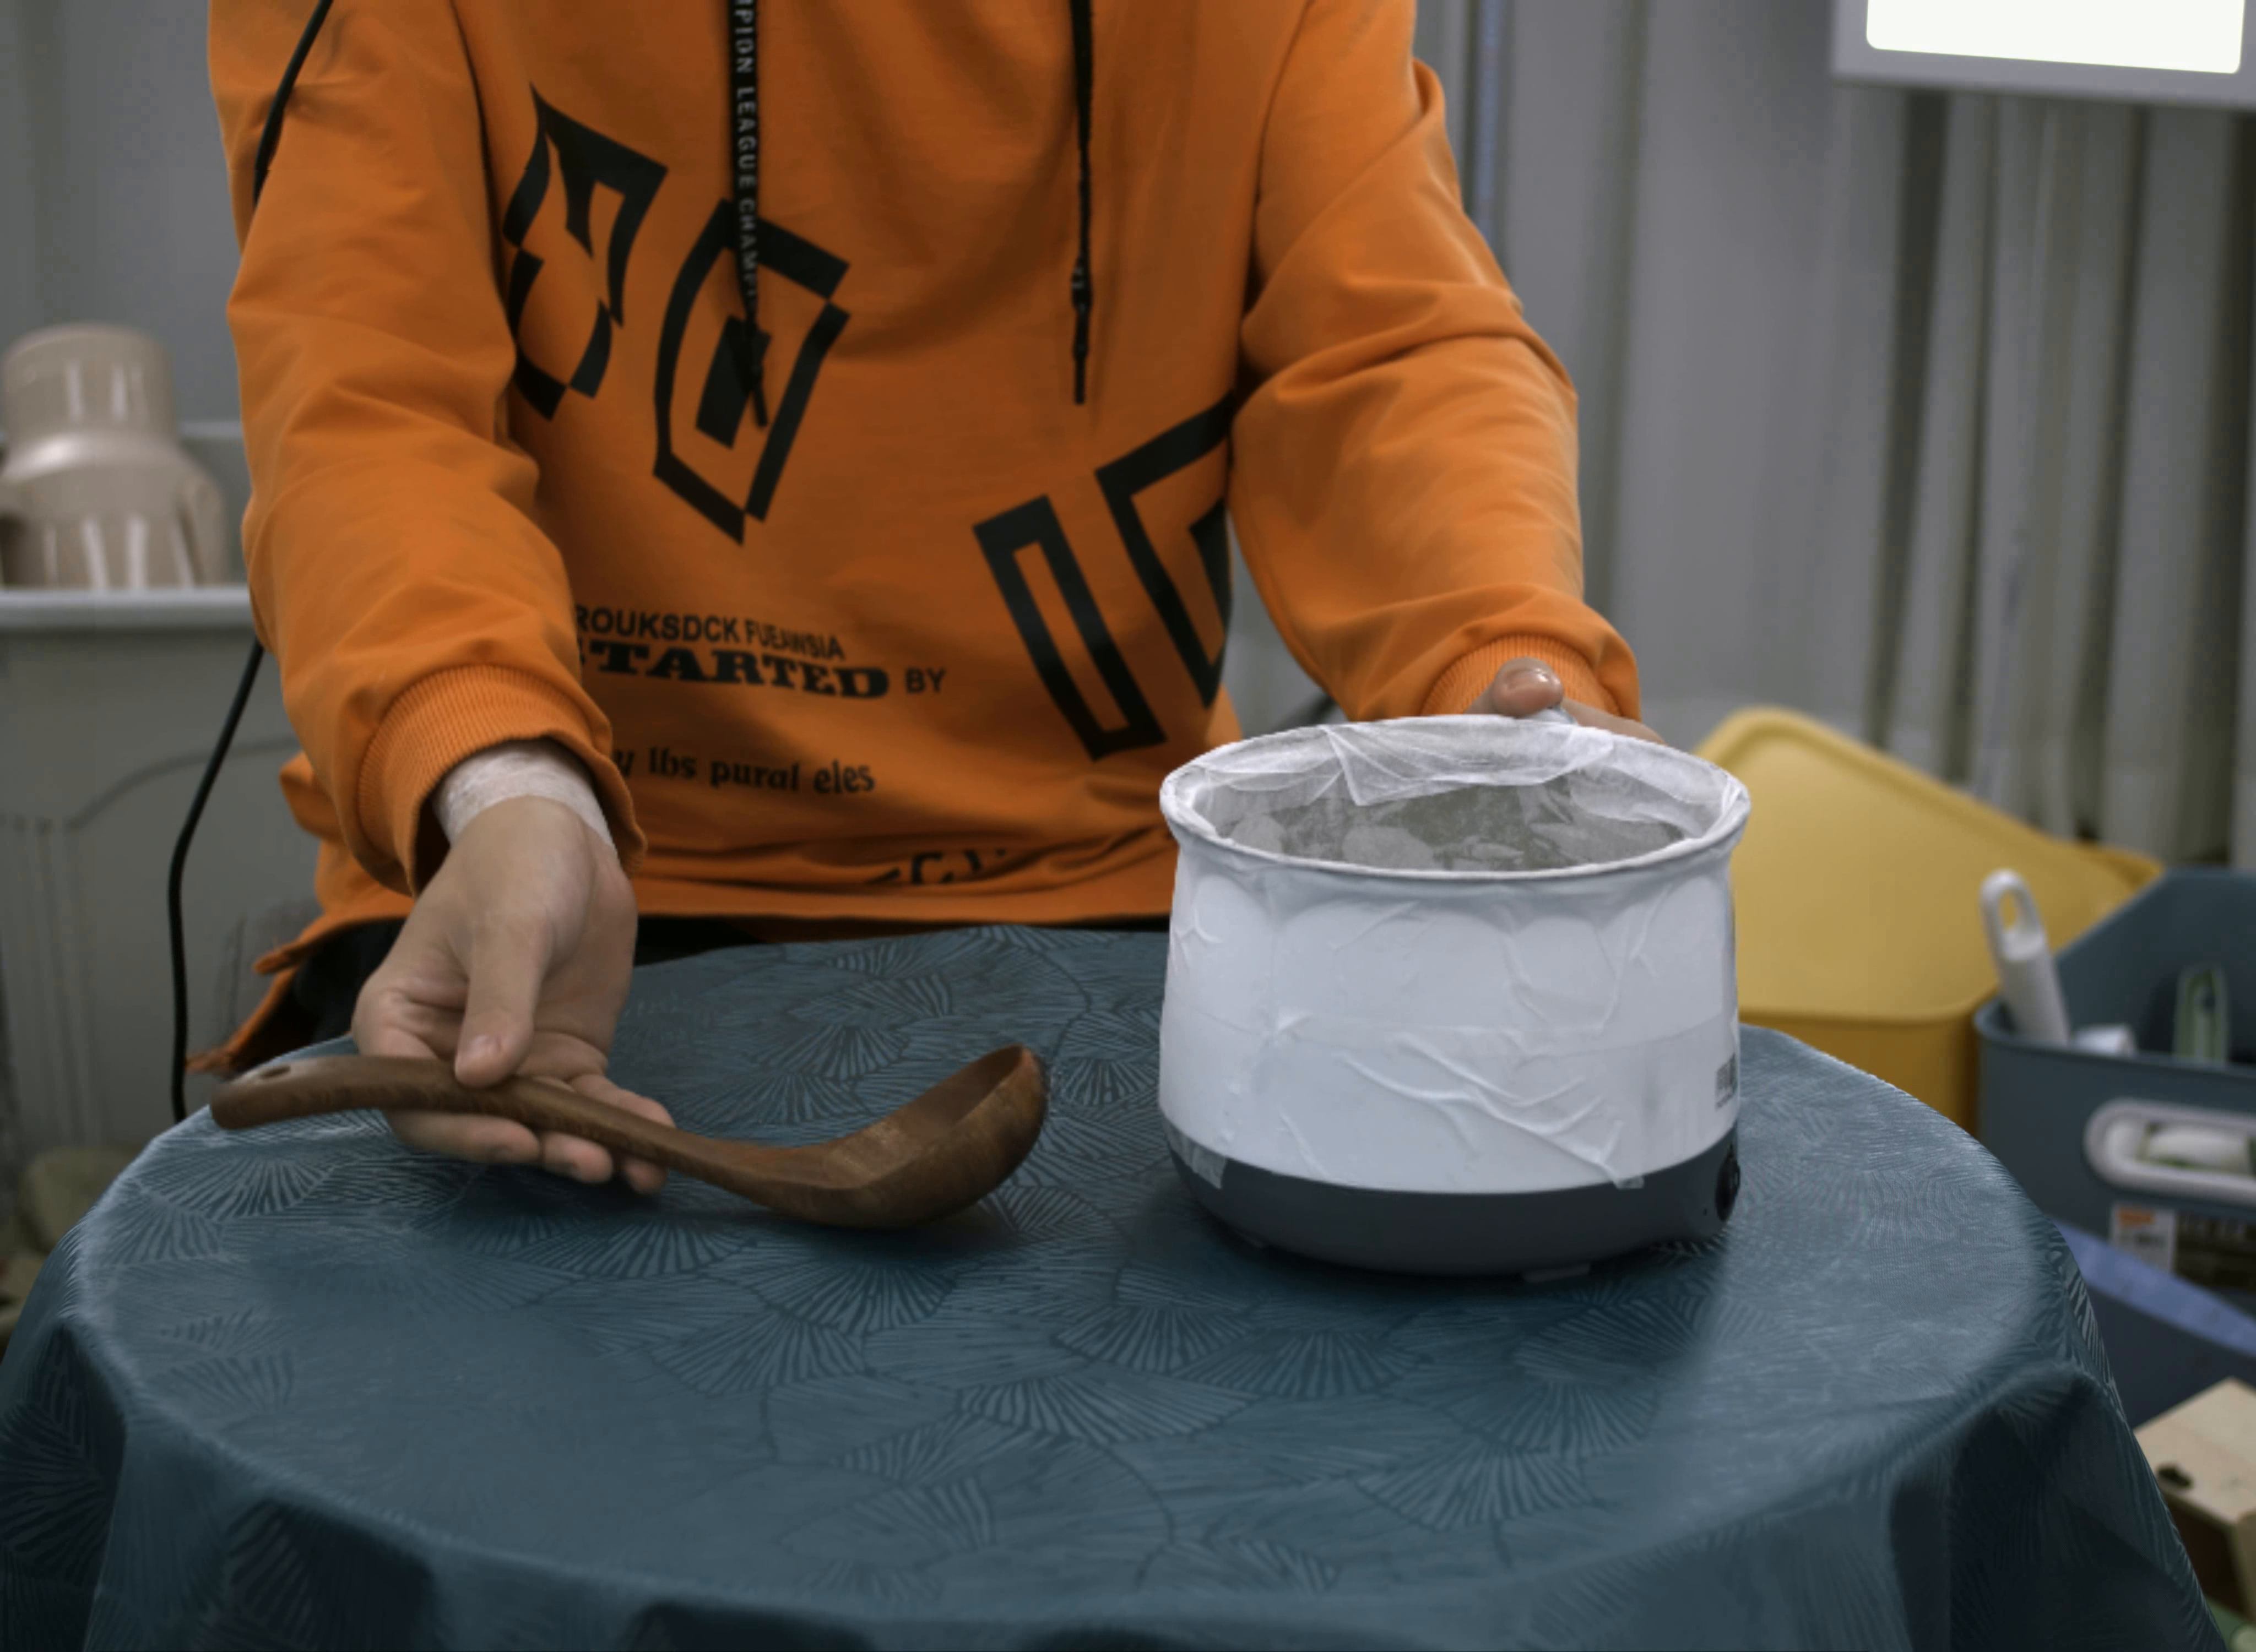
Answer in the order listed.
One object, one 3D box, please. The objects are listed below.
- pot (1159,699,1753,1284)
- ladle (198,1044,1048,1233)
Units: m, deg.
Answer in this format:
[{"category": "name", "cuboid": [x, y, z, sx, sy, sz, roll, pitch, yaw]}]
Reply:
[{"category": "pot", "cuboid": [0.106, 0.044, 1.616, 0.177, 0.138, 0.234, 6, 17, 17]}, {"category": "ladle", "cuboid": [-0.153, 0.078, 1.590, 0.259, 0.065, 0.076, 10, 13, 6]}]
